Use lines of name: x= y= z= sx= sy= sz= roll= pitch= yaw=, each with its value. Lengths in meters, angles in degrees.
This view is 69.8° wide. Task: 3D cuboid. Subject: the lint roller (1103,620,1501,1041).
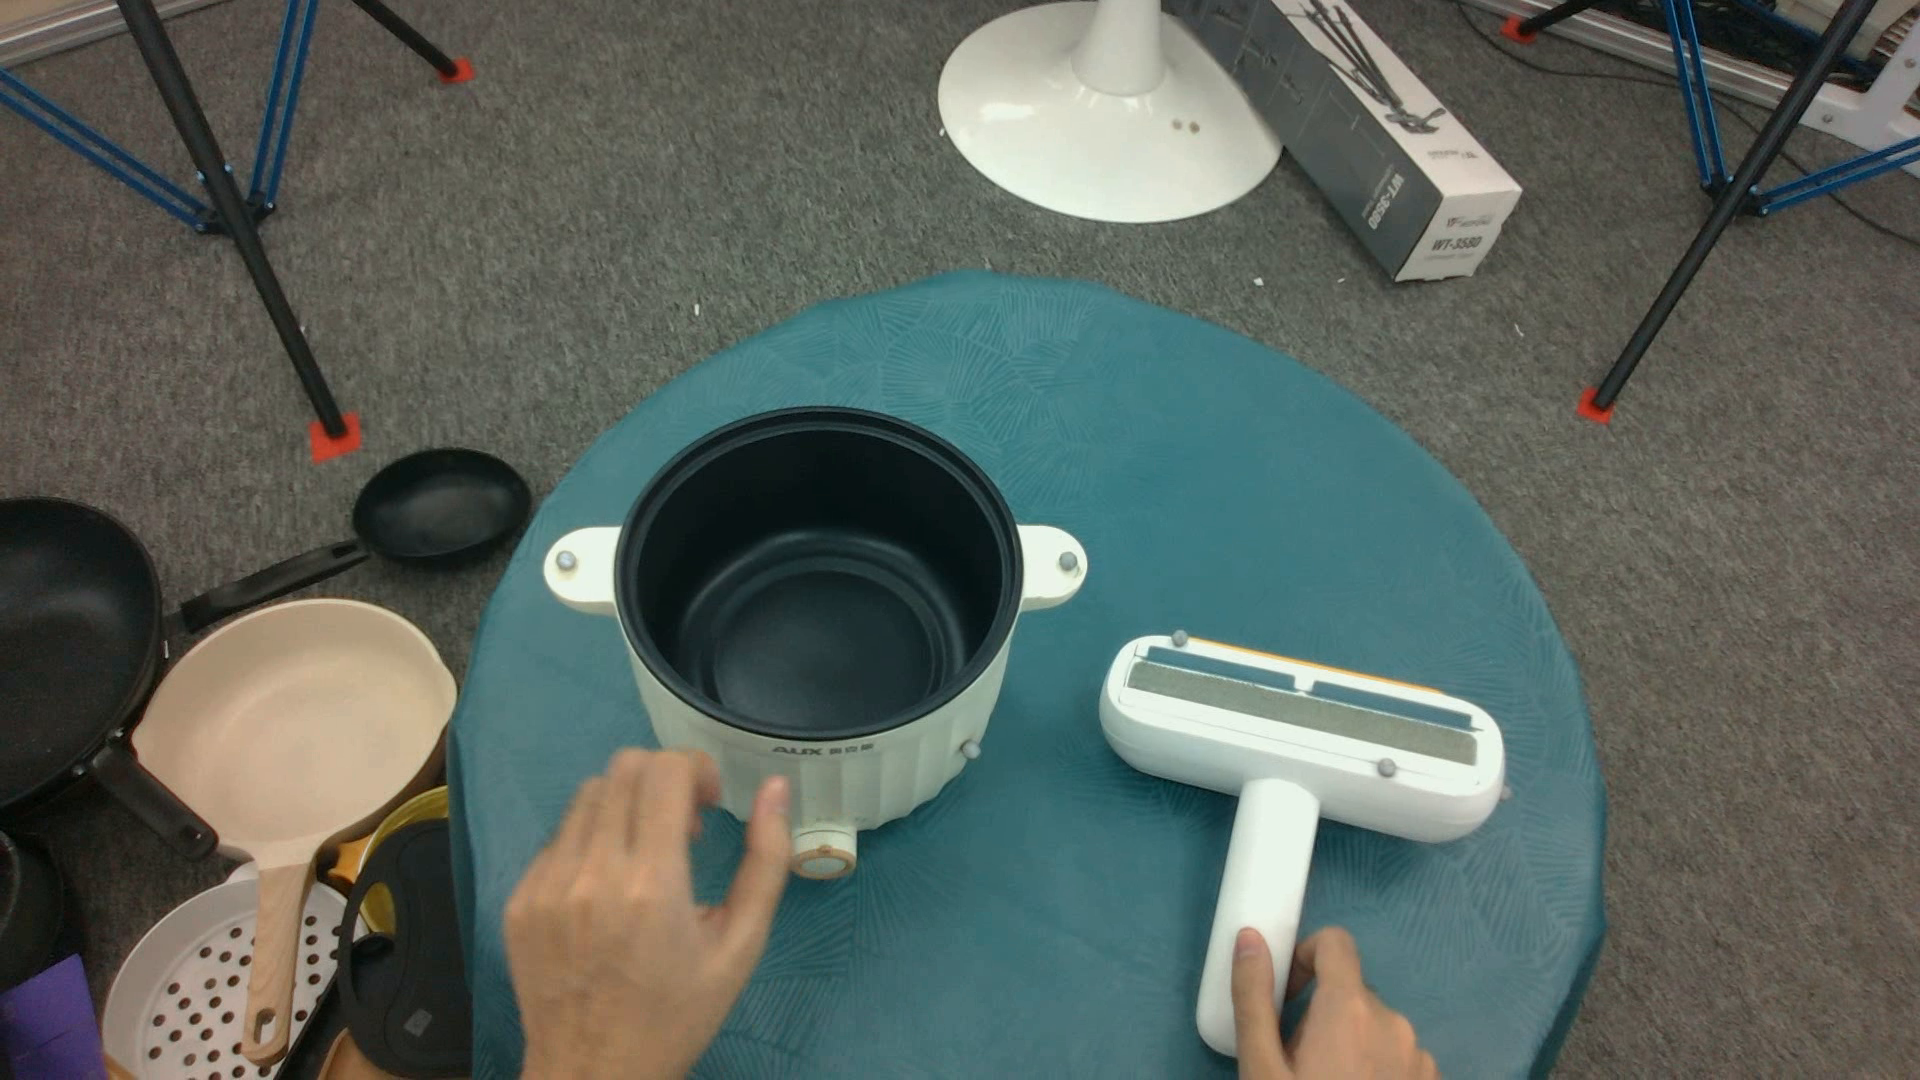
lint roller: x=0.144 y=0.139 z=0.656 sx=0.193 sy=0.074 sz=0.193 roll=17 pitch=56 yaw=13

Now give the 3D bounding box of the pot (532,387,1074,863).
pot: x=-0.070 y=0.043 z=0.659 sx=0.240 sy=0.142 sz=0.191 roll=-1 pitch=51 yaw=-6
